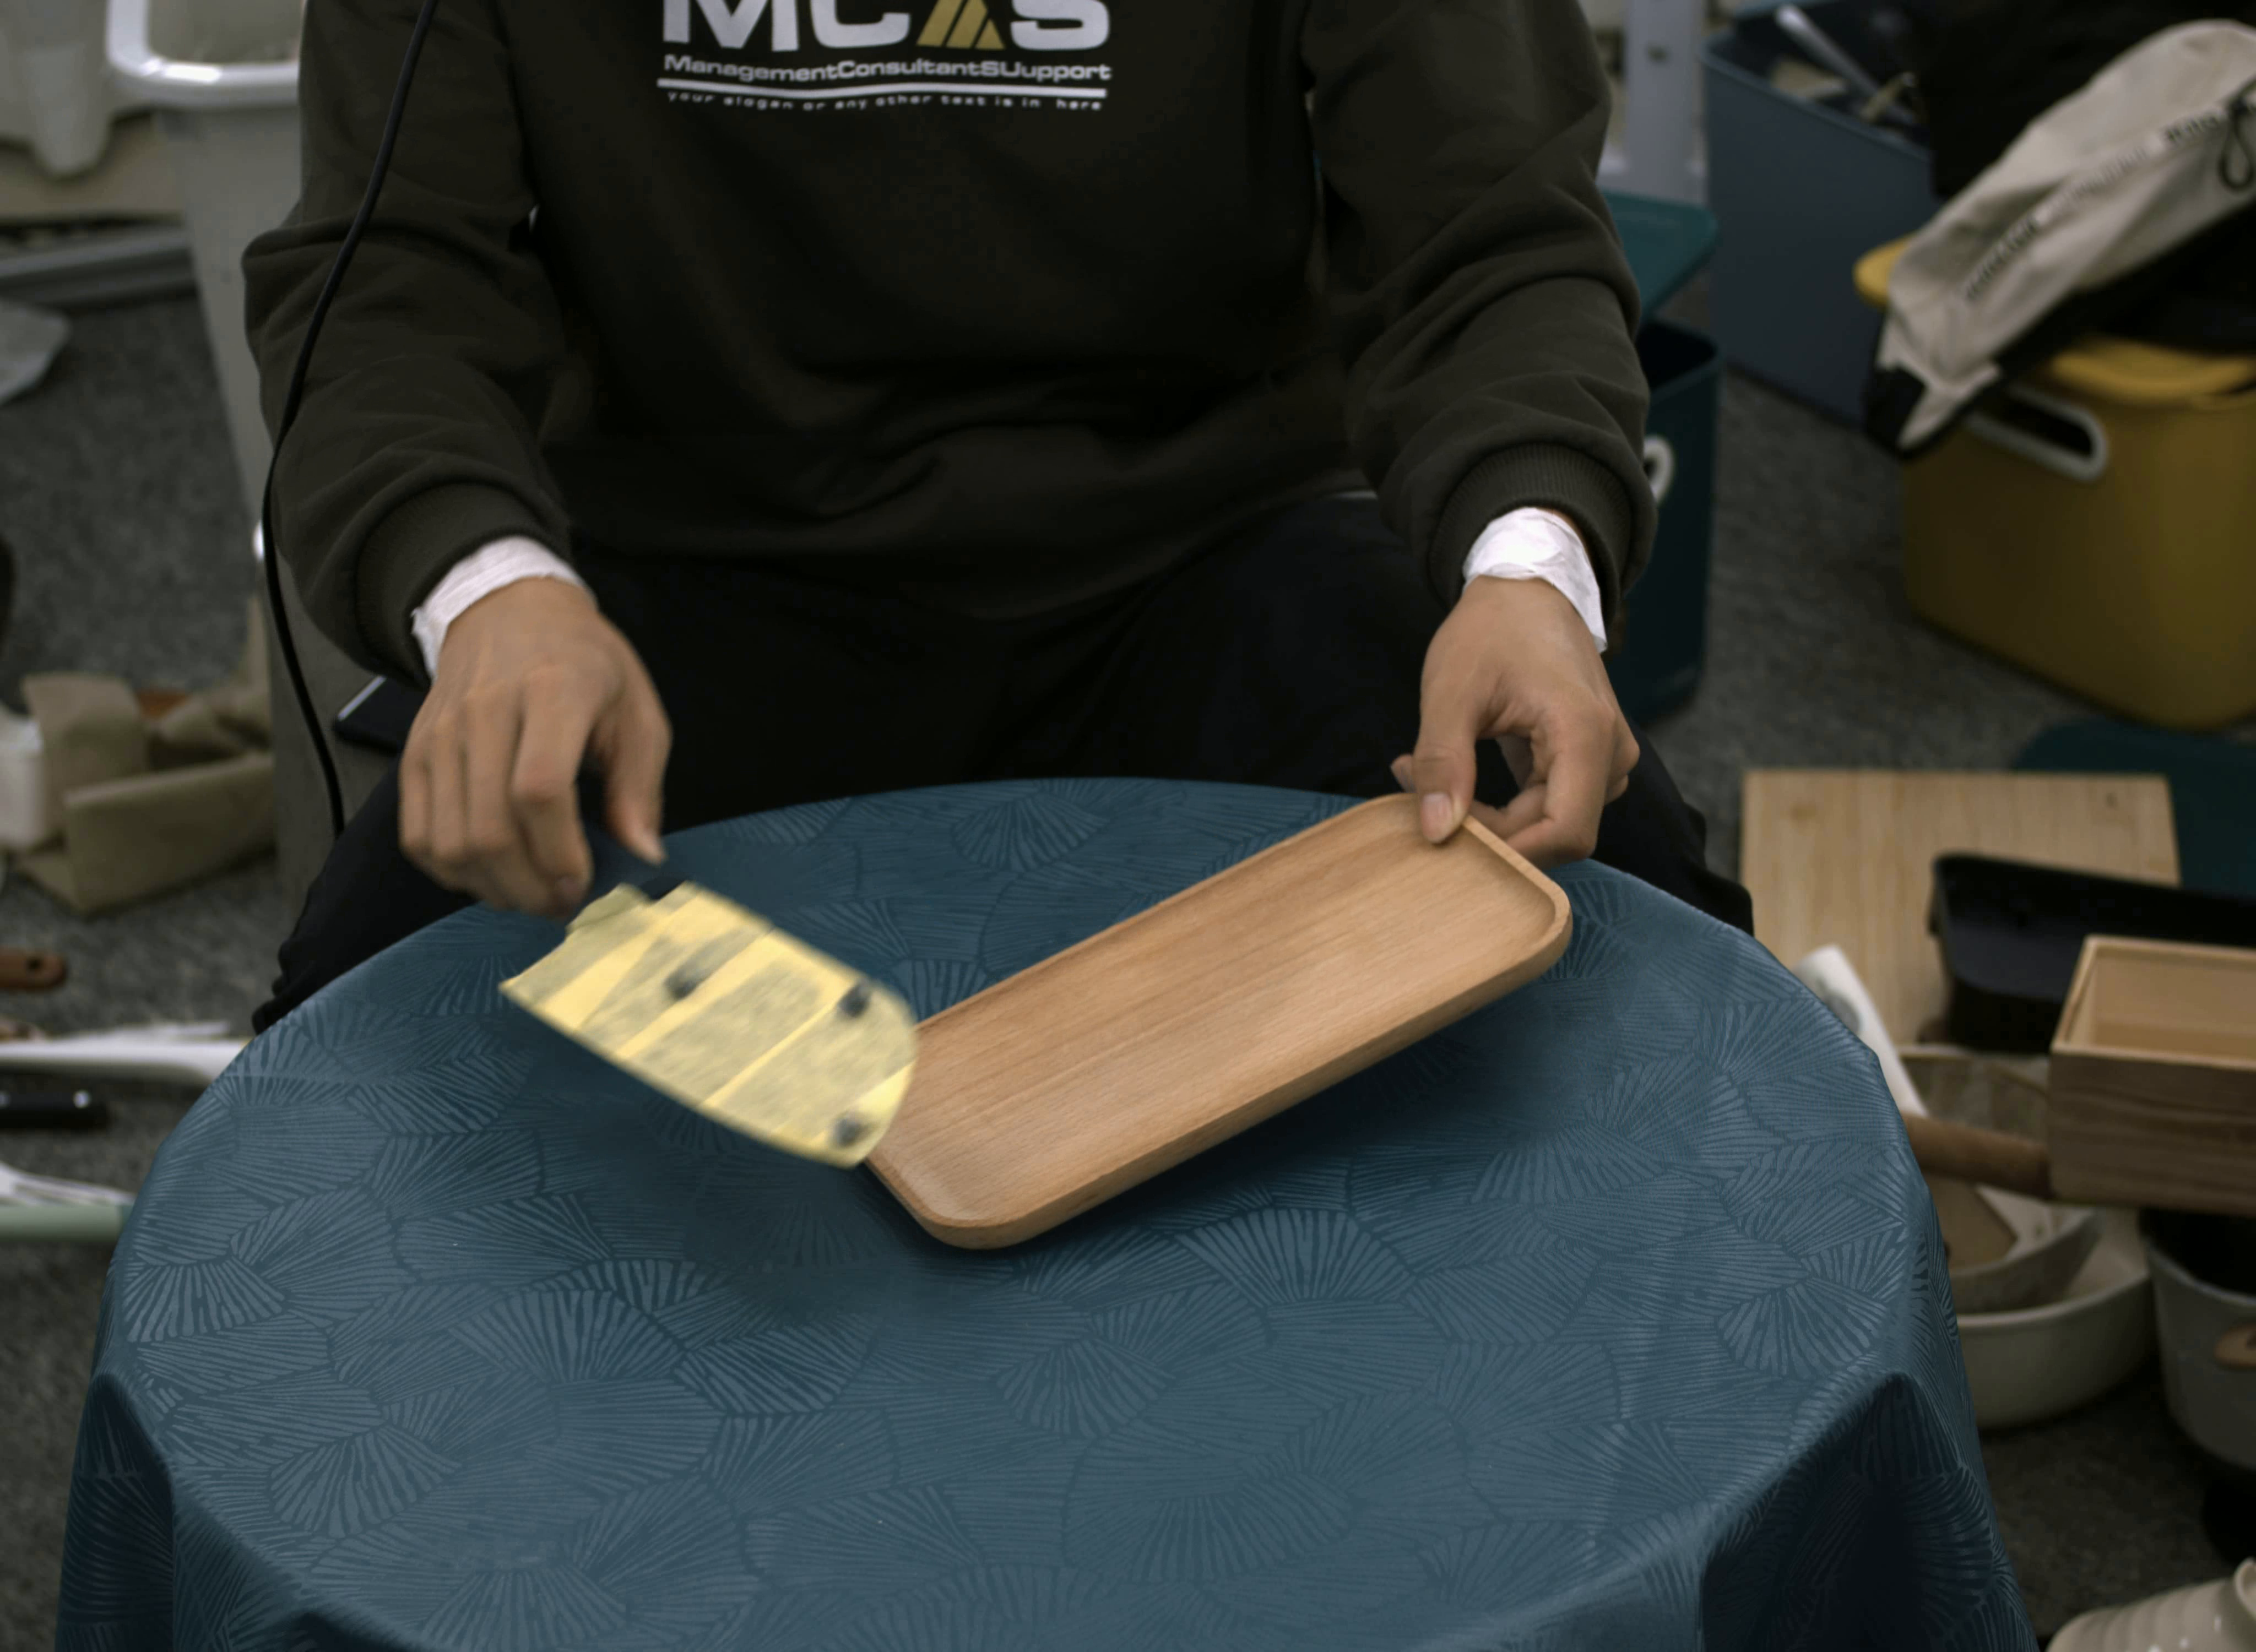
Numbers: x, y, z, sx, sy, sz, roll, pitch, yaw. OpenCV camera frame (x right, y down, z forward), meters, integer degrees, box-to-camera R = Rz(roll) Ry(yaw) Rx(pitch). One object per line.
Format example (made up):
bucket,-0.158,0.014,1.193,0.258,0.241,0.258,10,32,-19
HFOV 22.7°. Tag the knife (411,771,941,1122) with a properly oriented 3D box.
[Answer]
knife,-0.160,0.040,1.871,0.082,0.027,0.289,-35,39,-26

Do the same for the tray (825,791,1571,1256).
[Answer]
tray,0.024,0.065,1.898,0.252,0.022,0.131,-27,31,-17
